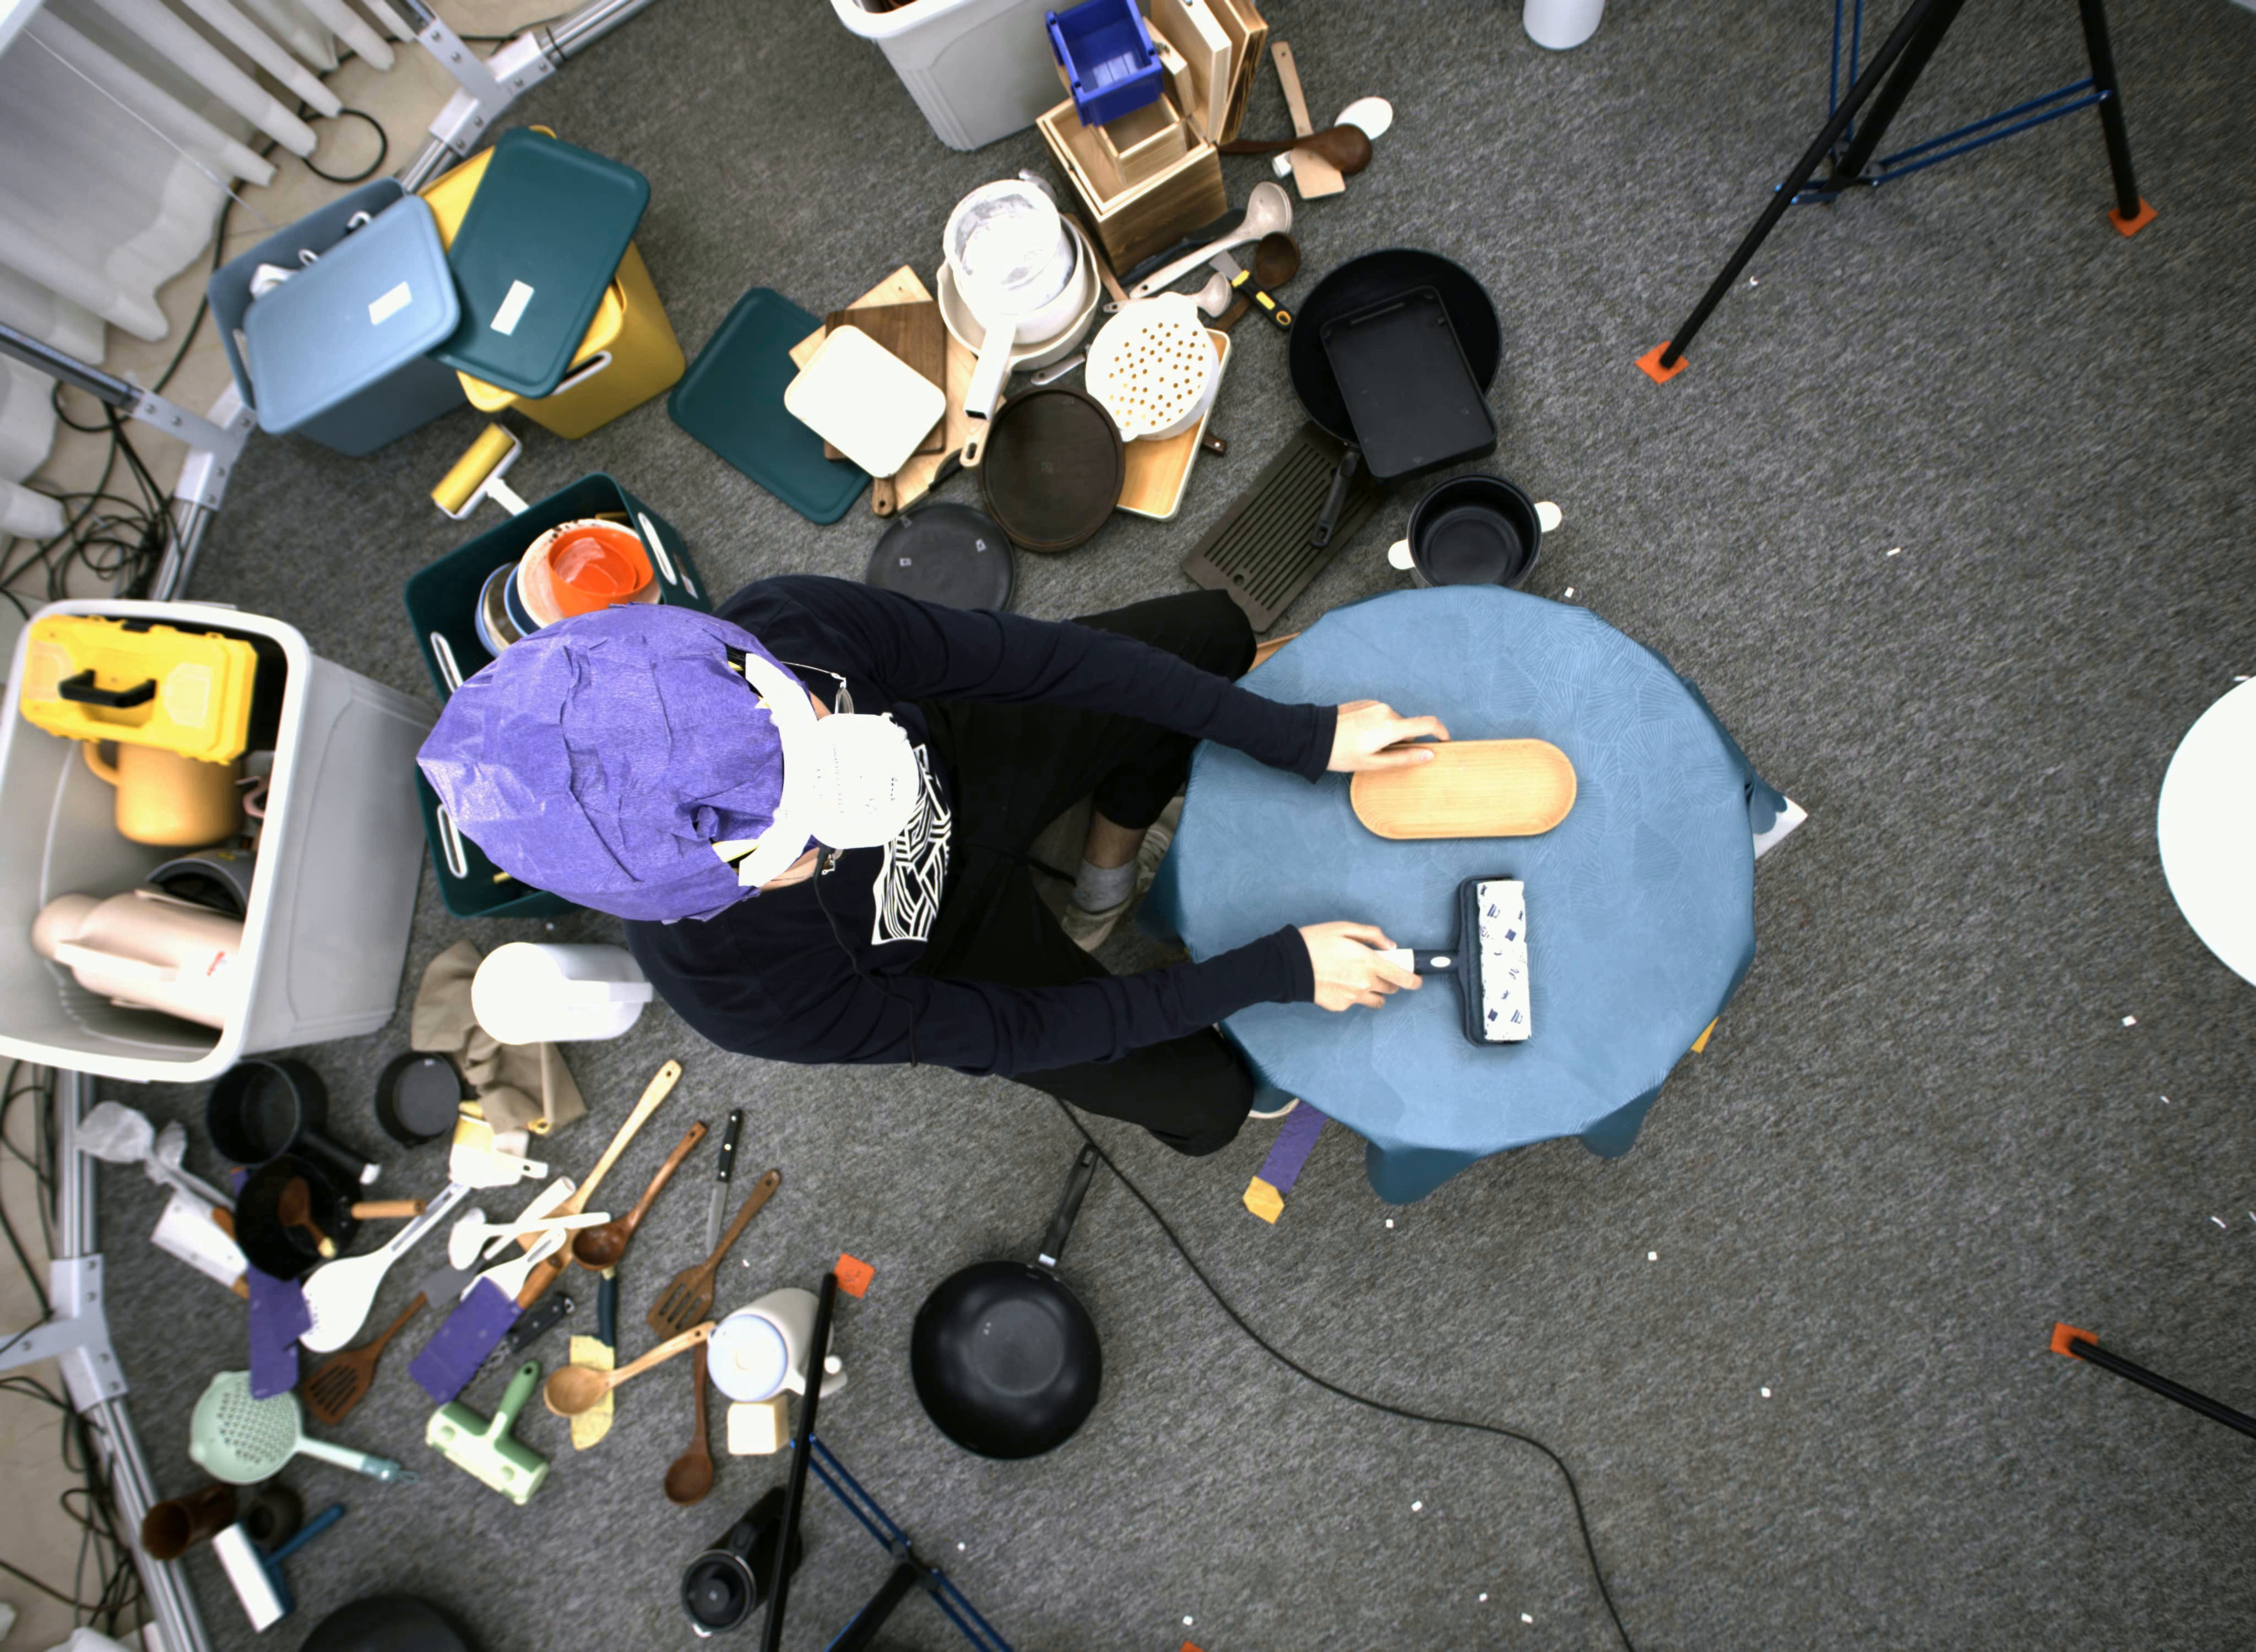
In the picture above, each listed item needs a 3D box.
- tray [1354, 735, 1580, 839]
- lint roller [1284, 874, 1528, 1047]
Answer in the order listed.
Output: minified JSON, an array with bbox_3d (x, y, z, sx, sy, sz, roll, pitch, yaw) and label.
[{"bbox_3d":[0.351,-0.043,1.431,0.232,0.020,0.103,-4,105,9],"label":"tray"},{"bbox_3d":[0.284,0.141,1.422,0.248,0.050,0.175,-3,87,7],"label":"lint roller"}]
